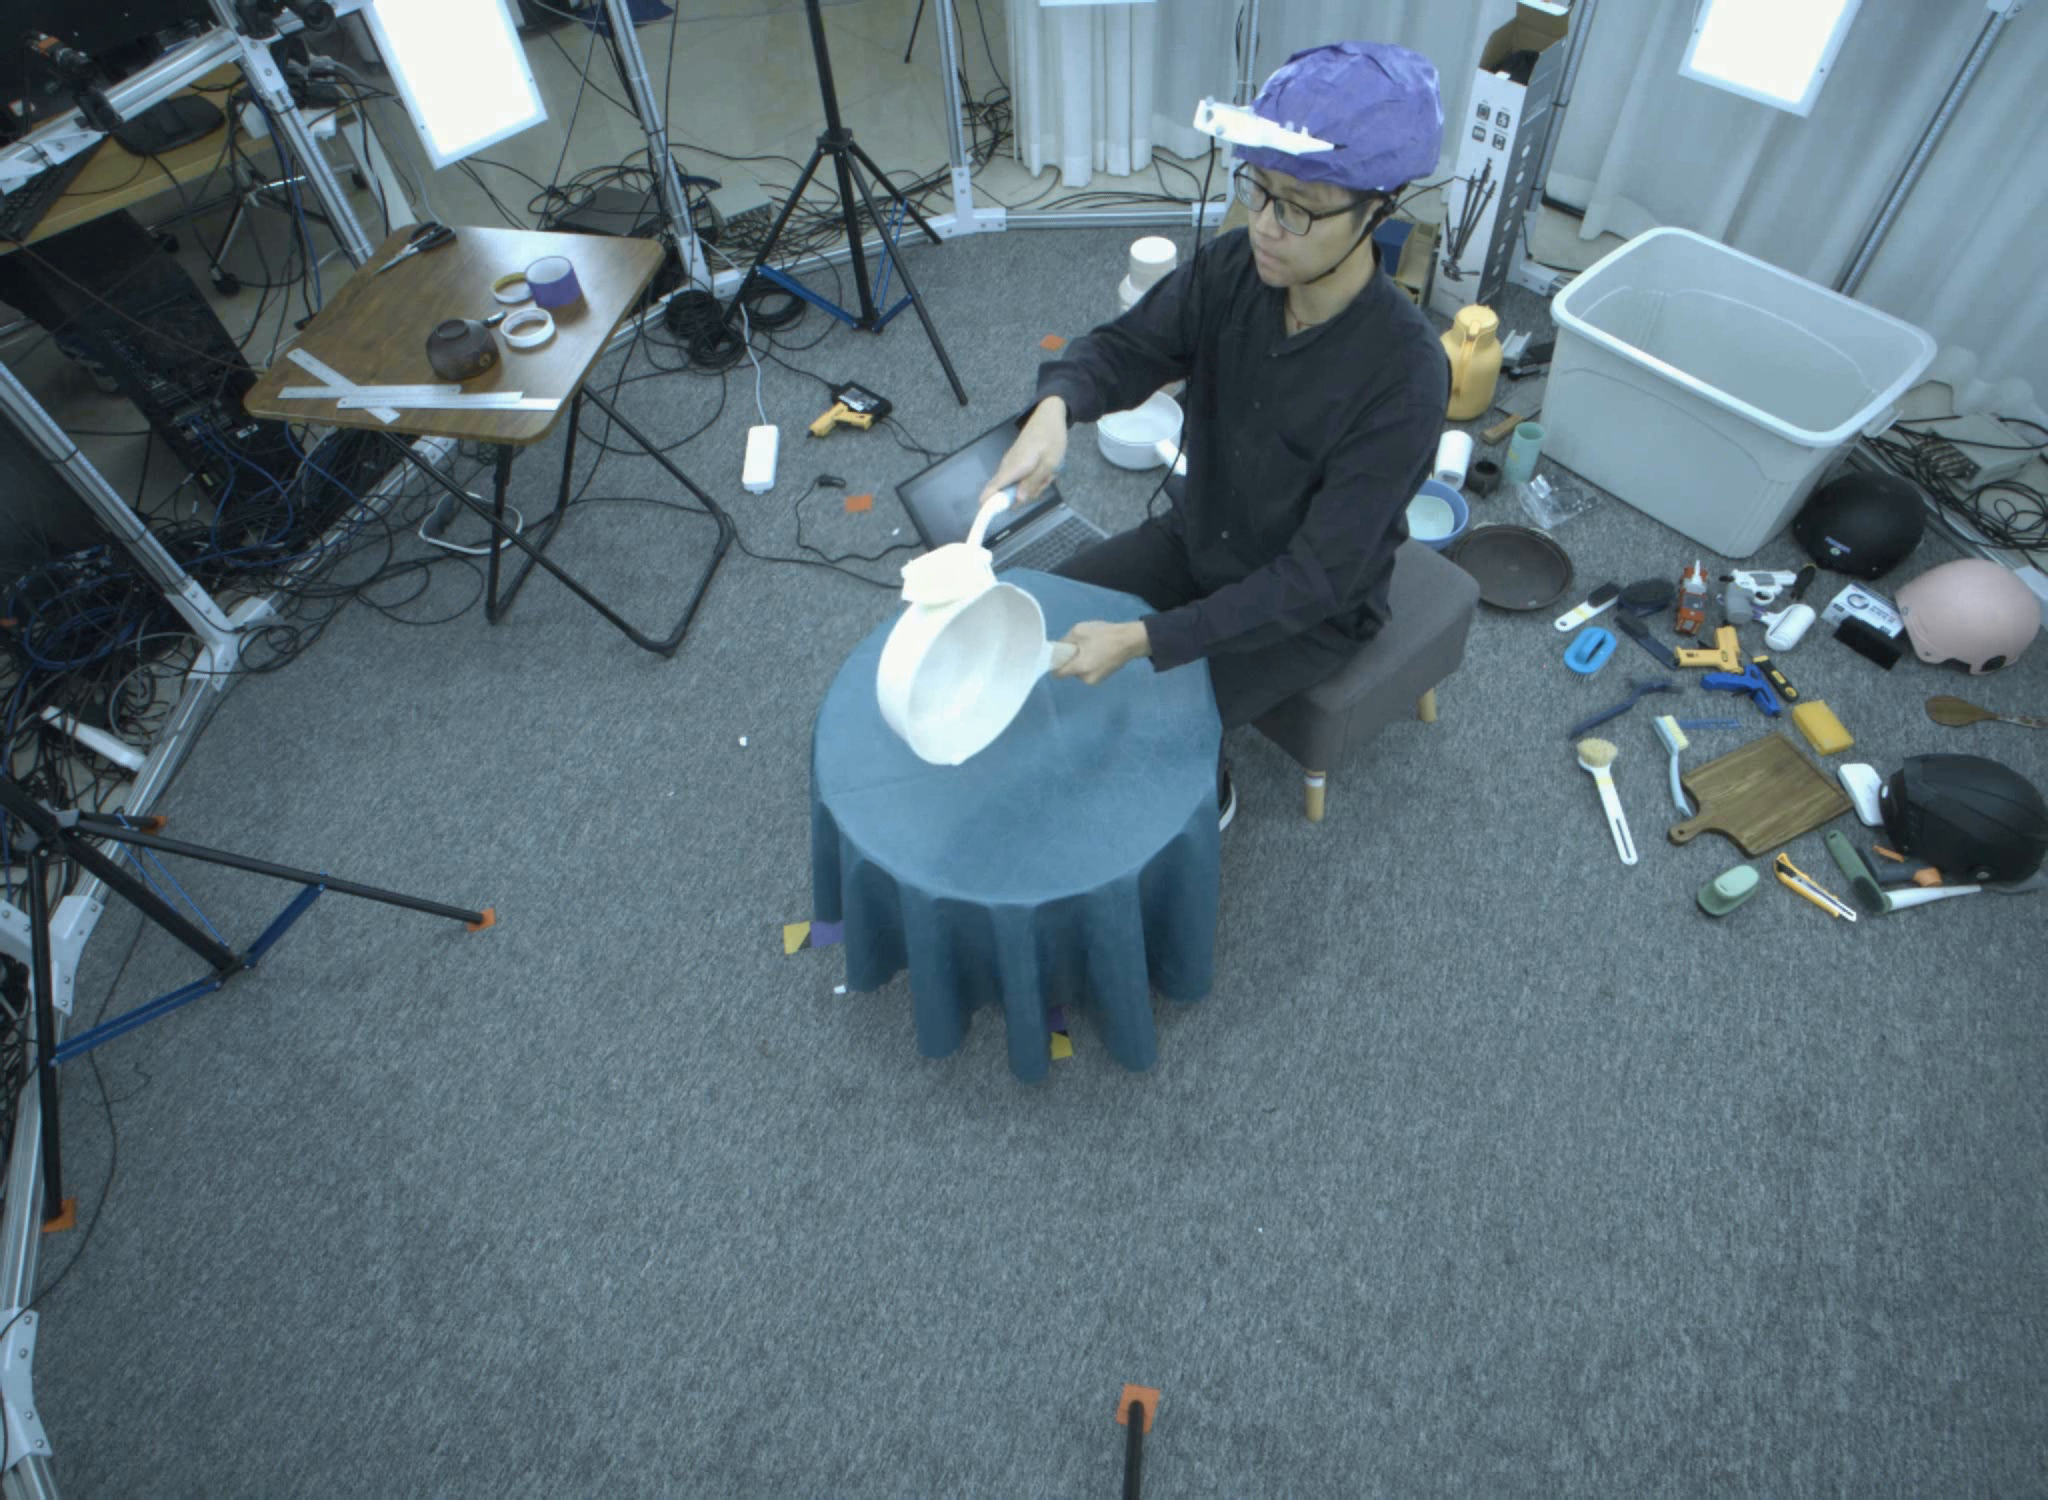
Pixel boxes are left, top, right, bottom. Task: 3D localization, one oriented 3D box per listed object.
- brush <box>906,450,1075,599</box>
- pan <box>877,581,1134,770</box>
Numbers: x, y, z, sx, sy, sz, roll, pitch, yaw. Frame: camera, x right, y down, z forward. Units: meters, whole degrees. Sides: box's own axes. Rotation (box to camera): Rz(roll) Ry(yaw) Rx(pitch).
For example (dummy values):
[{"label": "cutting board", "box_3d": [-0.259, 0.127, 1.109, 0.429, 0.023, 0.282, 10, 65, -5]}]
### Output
[{"label": "brush", "box_3d": [-0.030, -0.270, 1.535, 0.083, 0.084, 0.328, 45, 55, 2]}, {"label": "pan", "box_3d": [-0.021, -0.123, 1.646, 0.100, 0.264, 0.442, 31, 32, 31]}]
